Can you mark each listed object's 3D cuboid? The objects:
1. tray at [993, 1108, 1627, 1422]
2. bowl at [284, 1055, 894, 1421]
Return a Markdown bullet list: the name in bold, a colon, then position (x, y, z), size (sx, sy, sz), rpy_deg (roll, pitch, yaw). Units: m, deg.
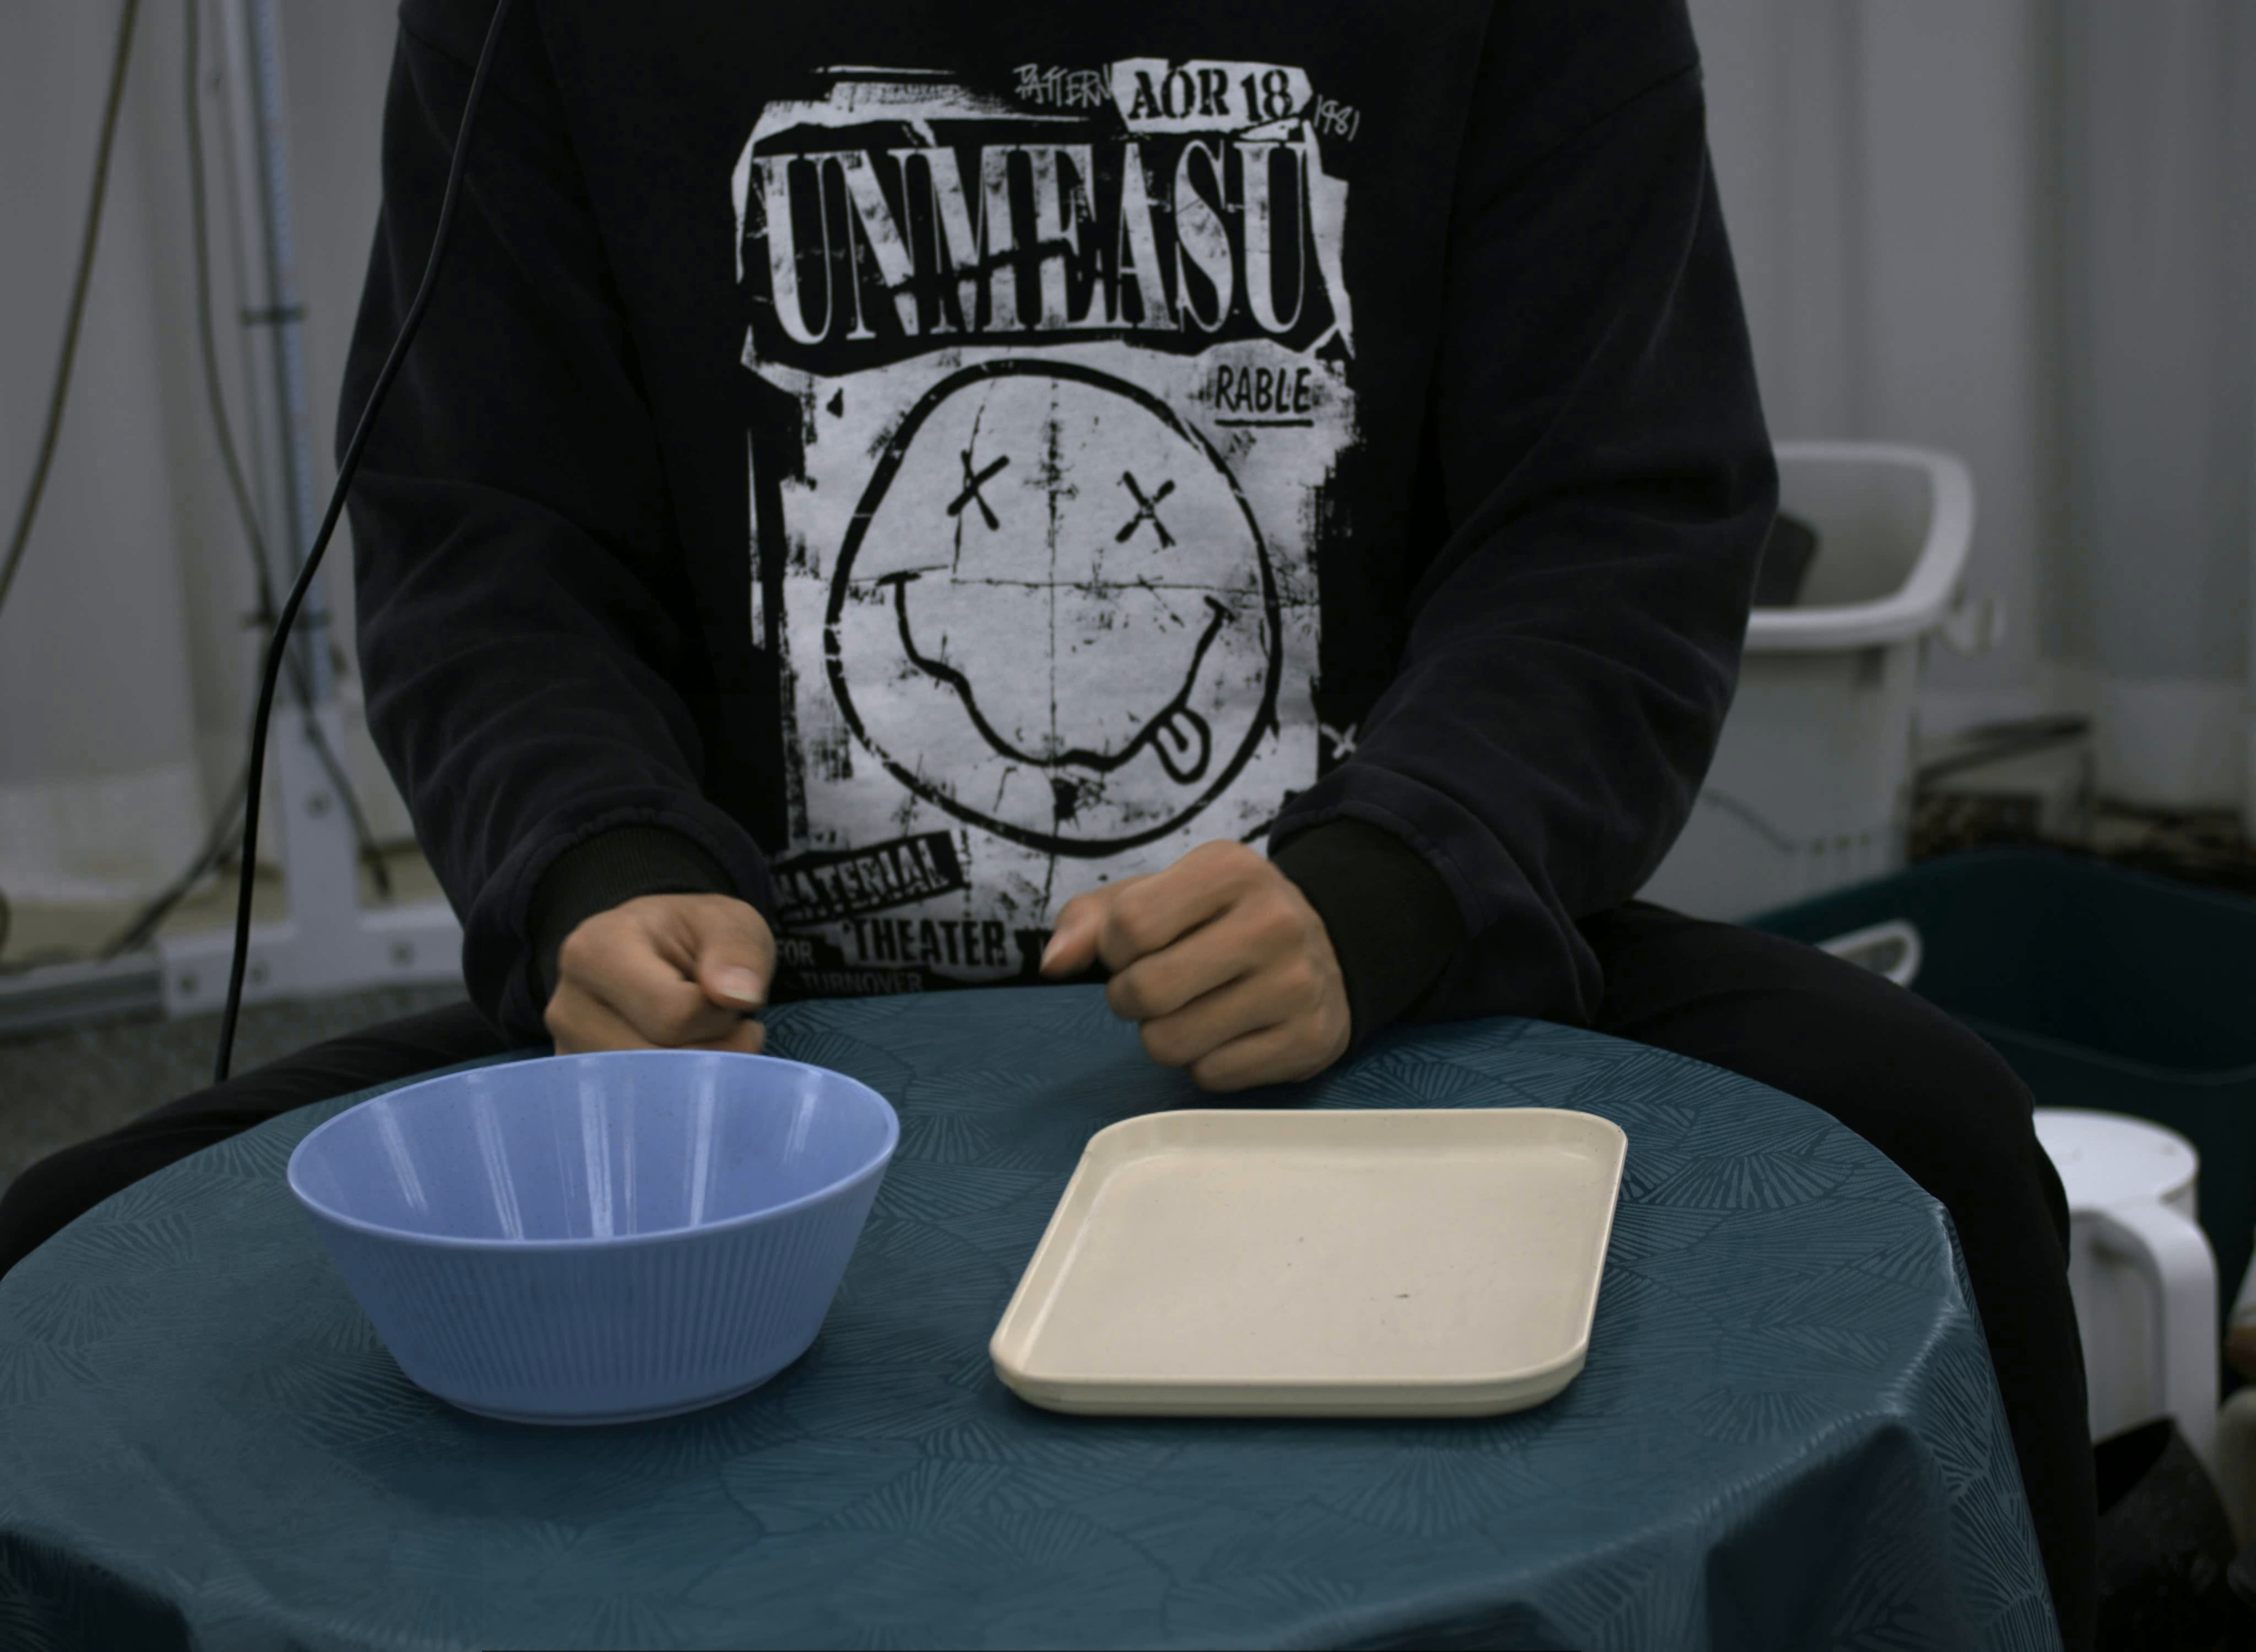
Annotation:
- **tray**: position (0.058, 0.129, 1.617), size (0.171, 0.017, 0.241), rpy_deg (0, 15, 9)
- **bowl**: position (-0.154, 0.122, 1.581), size (0.175, 0.070, 0.177), rpy_deg (-2, 14, 0)
